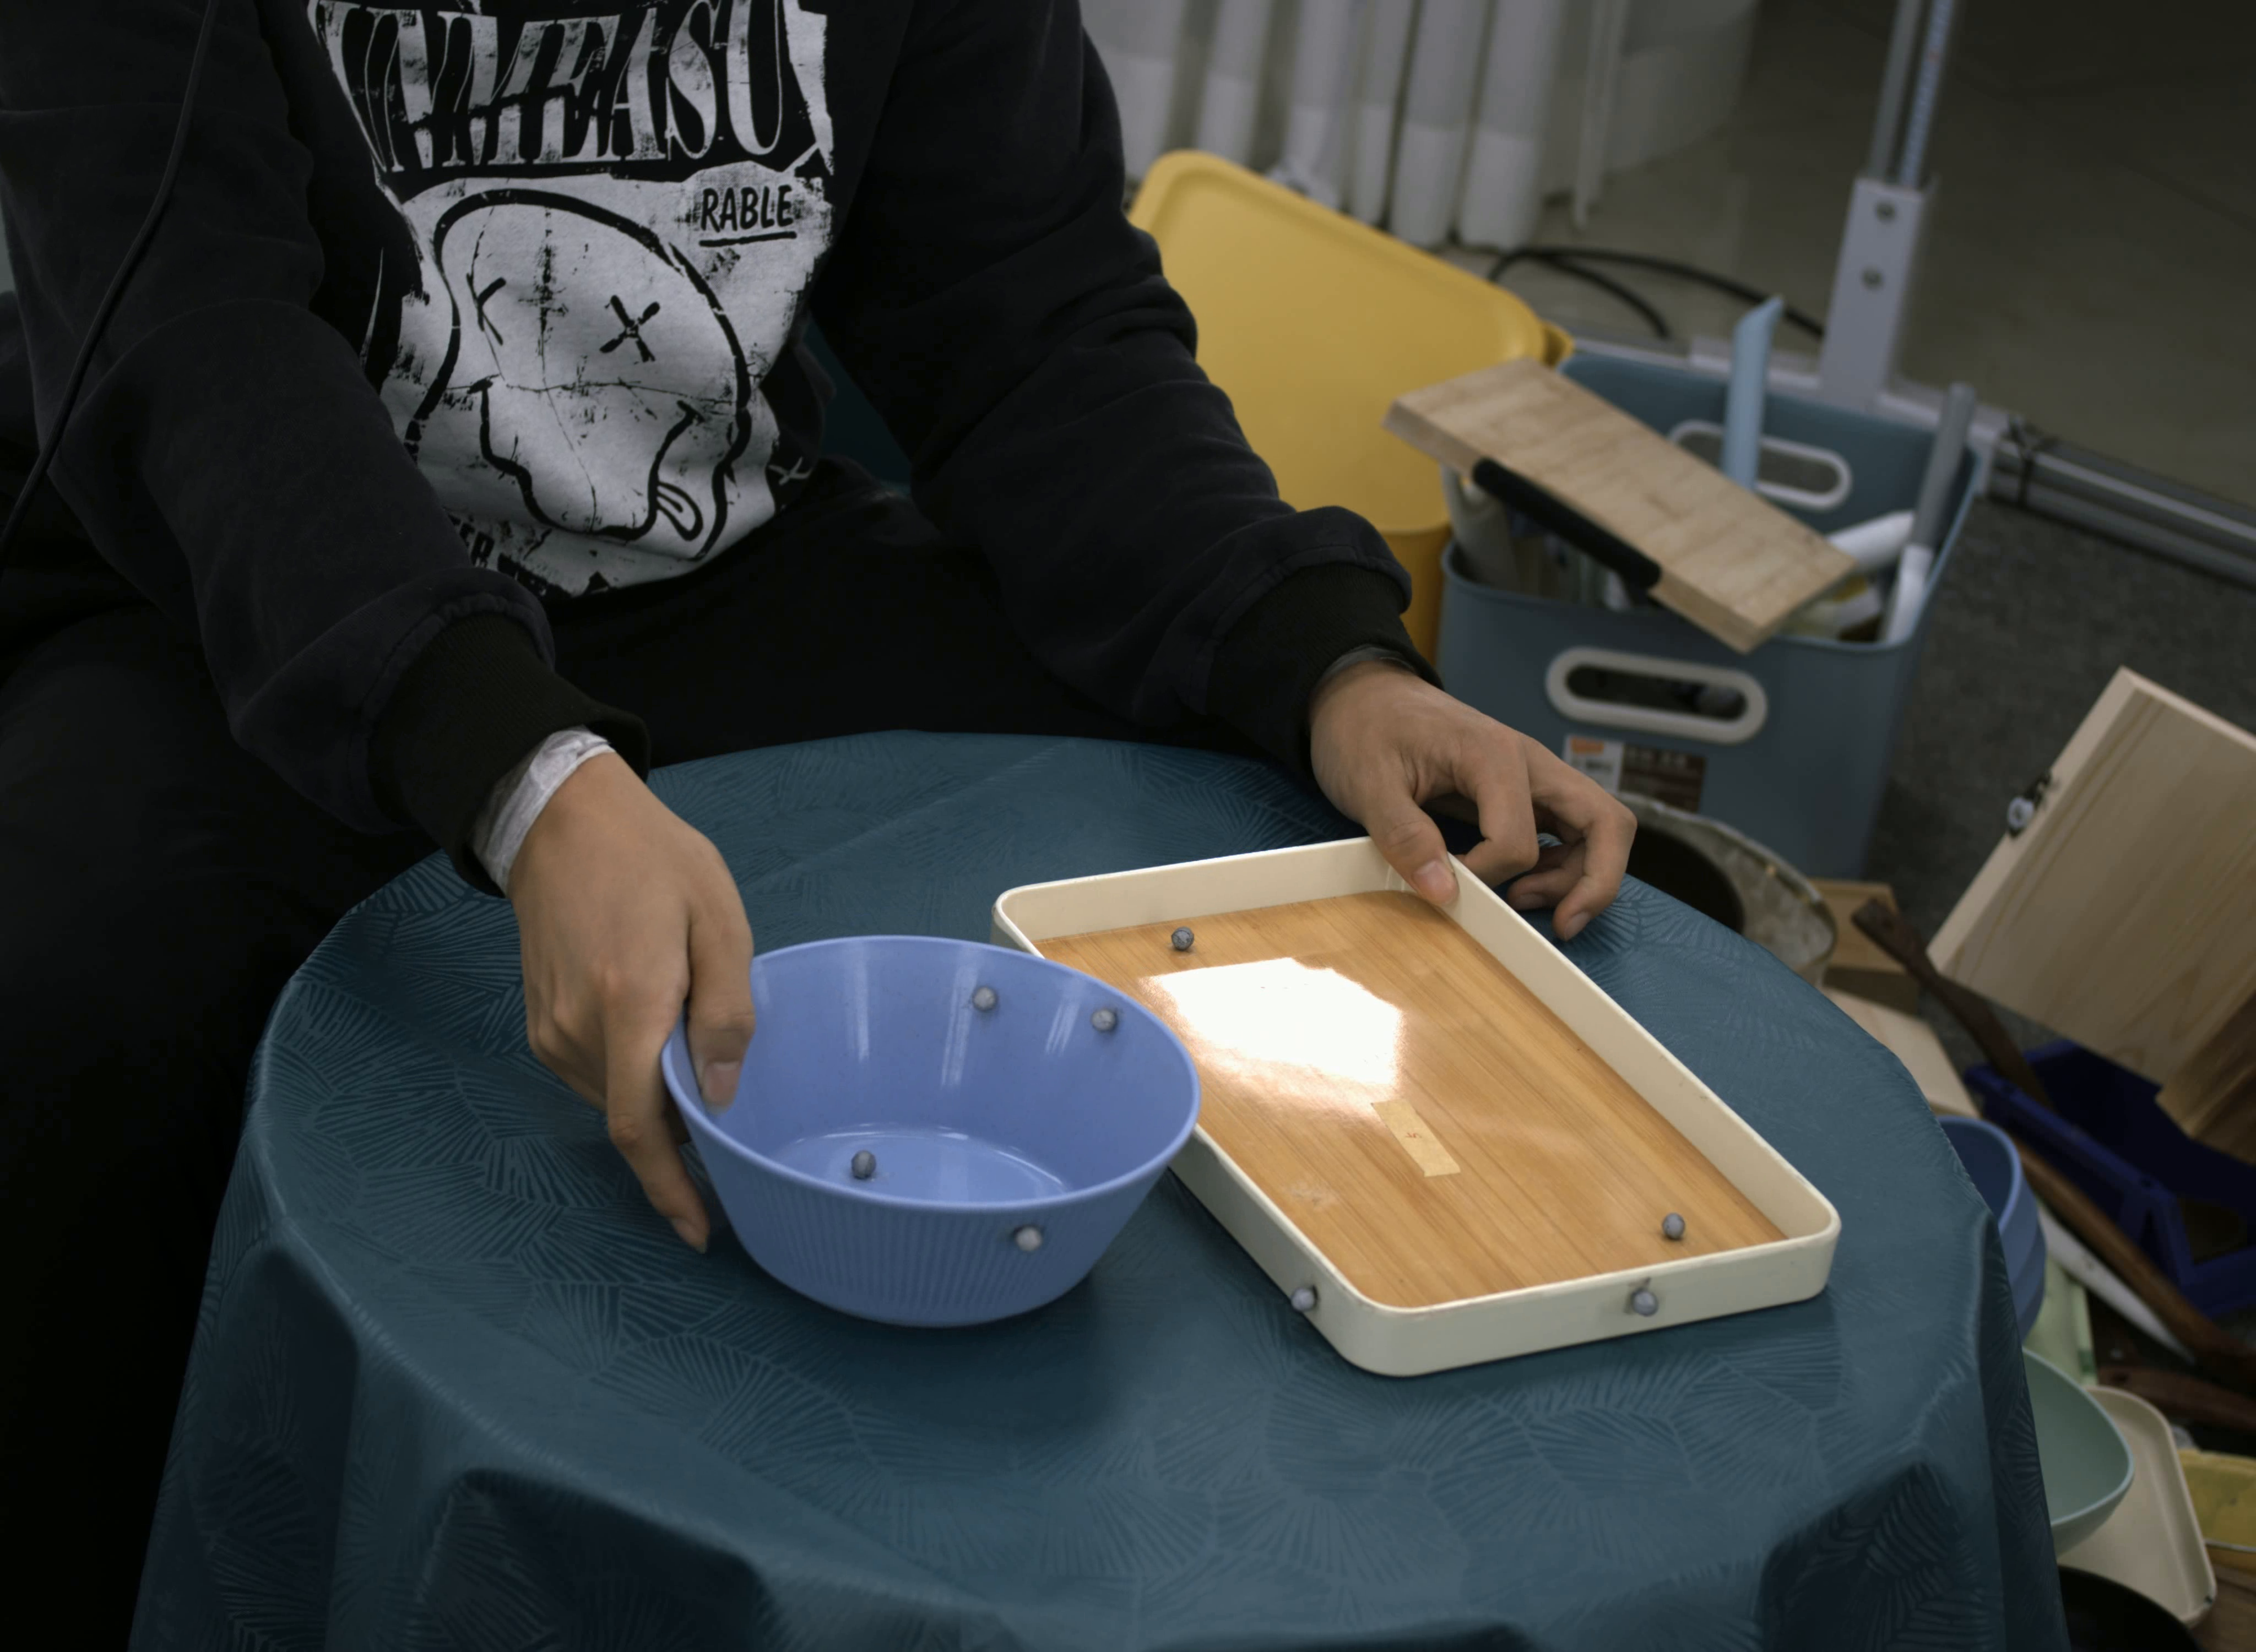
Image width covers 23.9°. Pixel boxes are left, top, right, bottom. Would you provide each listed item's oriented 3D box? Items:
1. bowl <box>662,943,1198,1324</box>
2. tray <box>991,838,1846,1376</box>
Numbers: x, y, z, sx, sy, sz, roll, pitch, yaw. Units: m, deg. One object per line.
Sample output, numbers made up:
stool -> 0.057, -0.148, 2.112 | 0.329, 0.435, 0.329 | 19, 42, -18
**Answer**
bowl -> -0.068, 0.106, 1.740 | 0.175, 0.070, 0.177 | 6, 26, -3
tray -> 0.095, 0.092, 1.856 | 0.190, 0.027, 0.303 | -8, 30, -26
